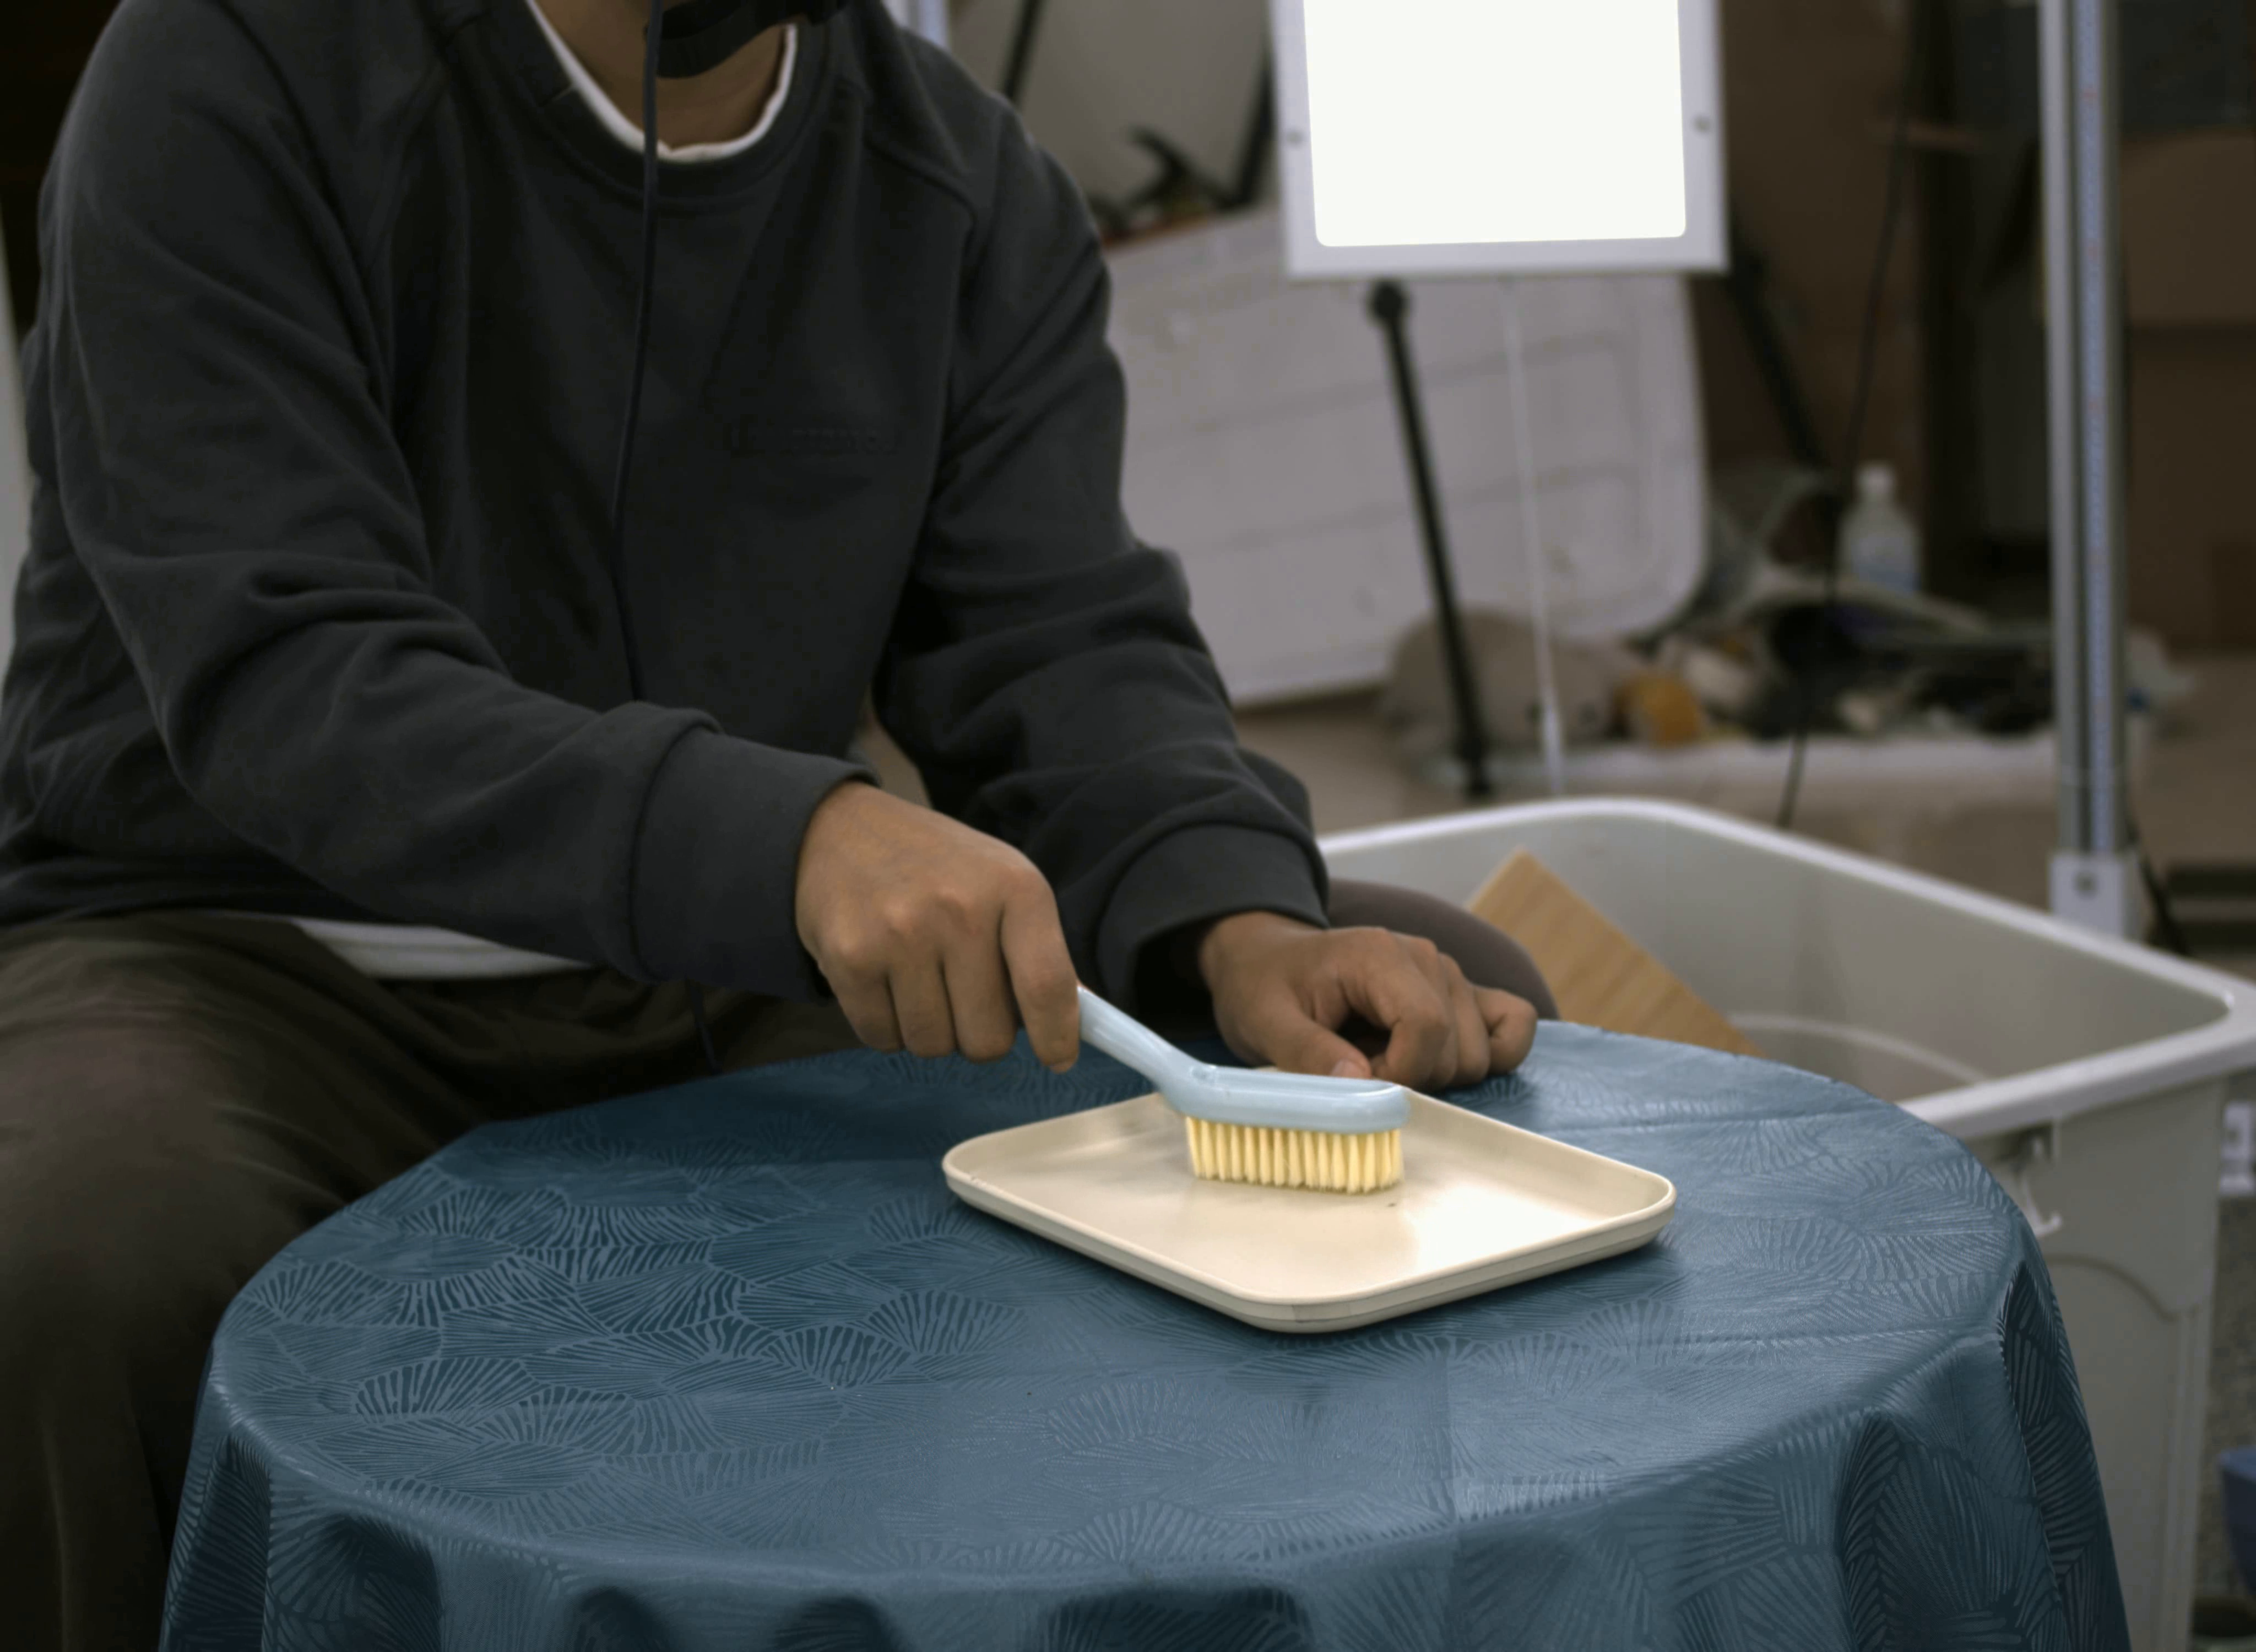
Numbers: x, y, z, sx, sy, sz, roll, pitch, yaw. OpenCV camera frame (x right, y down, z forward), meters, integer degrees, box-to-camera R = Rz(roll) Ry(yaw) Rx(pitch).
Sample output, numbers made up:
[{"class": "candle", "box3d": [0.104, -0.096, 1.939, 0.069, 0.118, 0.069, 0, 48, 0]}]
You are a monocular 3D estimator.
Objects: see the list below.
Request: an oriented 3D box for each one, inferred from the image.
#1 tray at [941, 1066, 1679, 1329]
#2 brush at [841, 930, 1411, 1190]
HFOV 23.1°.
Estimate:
[{"class": "tray", "box3d": [0.059, 0.124, 1.850, 0.167, 0.017, 0.244, -12, 15, -29]}, {"class": "brush", "box3d": [-0.005, 0.083, 1.922, 0.232, 0.050, 0.037, 18, 18, 29]}]
